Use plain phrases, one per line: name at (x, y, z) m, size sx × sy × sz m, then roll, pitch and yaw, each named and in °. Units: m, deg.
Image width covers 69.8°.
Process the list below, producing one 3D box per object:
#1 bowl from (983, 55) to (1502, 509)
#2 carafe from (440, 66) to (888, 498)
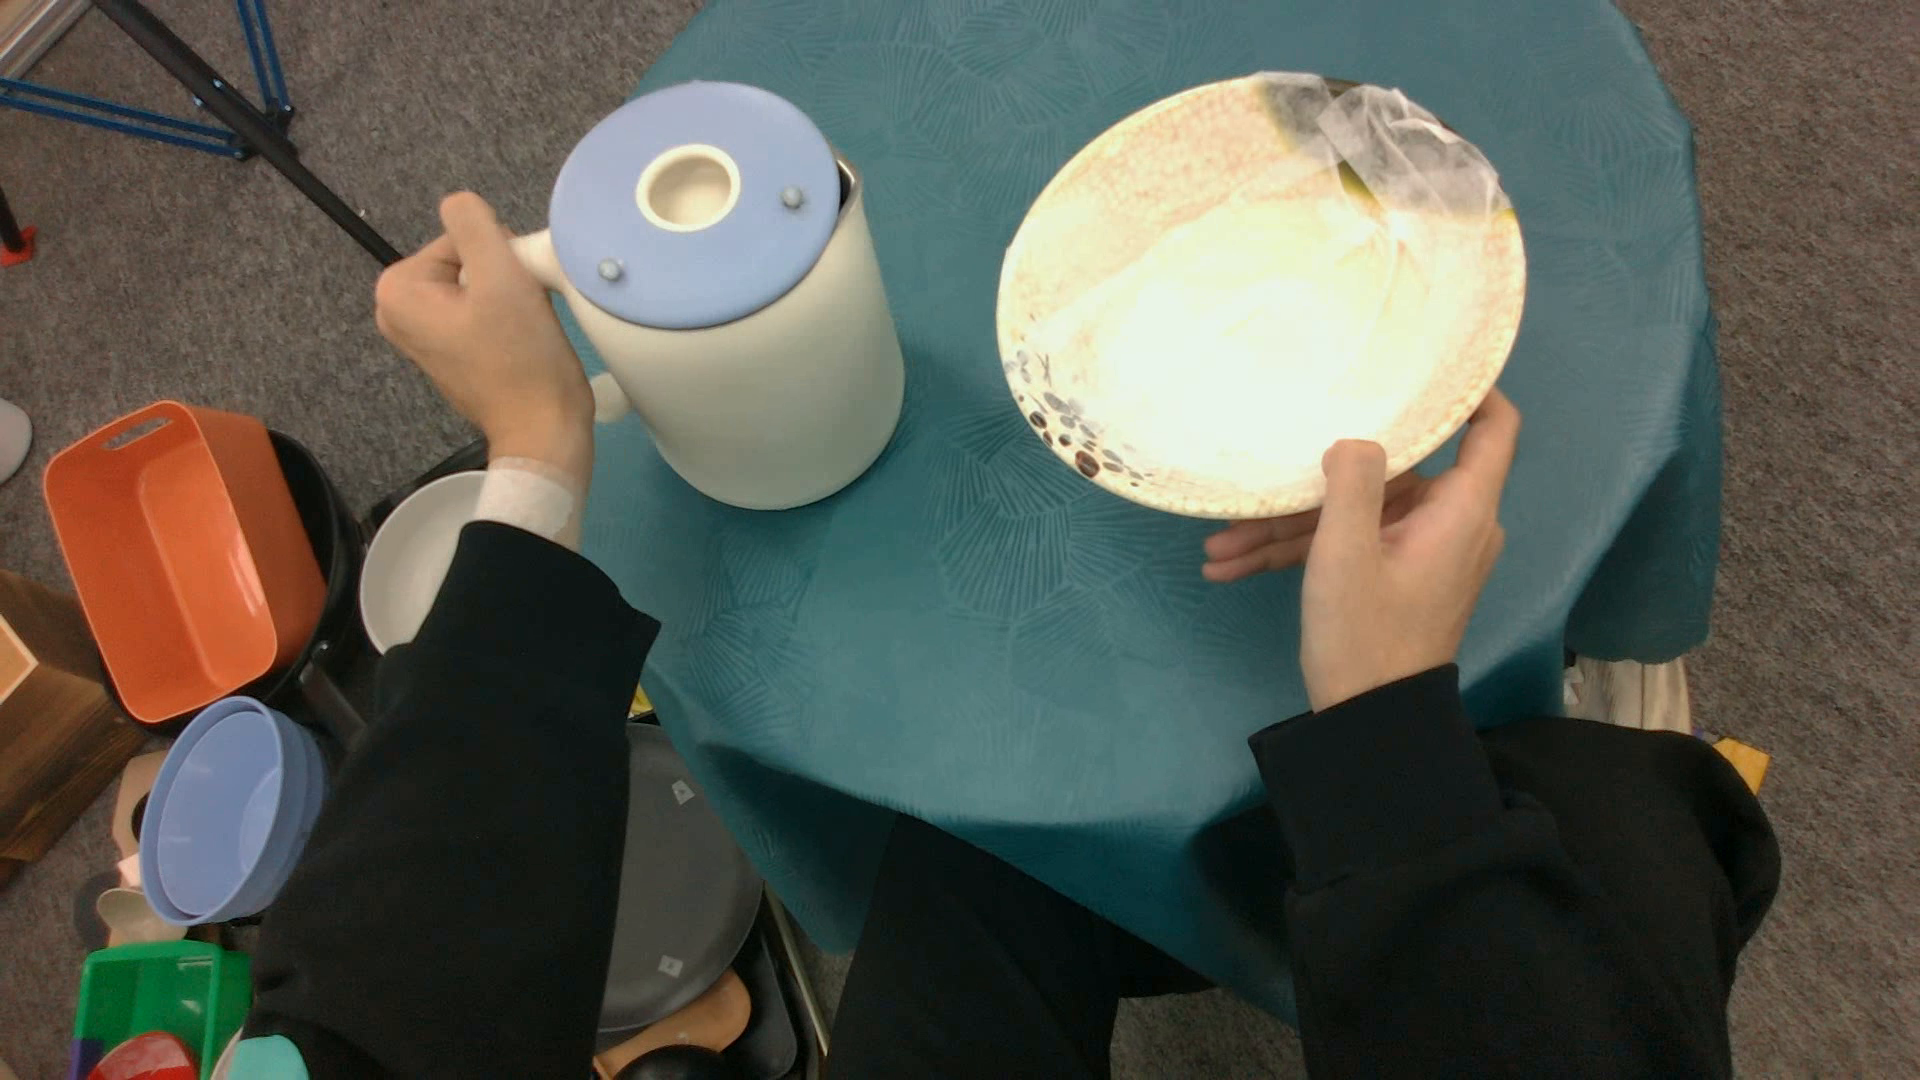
bowl at (0.117, -0.096, 0.580) m, size 0.204 × 0.078 × 0.204 m, roll -5°, pitch 69°, yaw 14°
carafe at (-0.131, -0.106, 0.628) m, size 0.191 × 0.182 × 0.132 m, roll -11°, pitch 66°, yaw 2°
